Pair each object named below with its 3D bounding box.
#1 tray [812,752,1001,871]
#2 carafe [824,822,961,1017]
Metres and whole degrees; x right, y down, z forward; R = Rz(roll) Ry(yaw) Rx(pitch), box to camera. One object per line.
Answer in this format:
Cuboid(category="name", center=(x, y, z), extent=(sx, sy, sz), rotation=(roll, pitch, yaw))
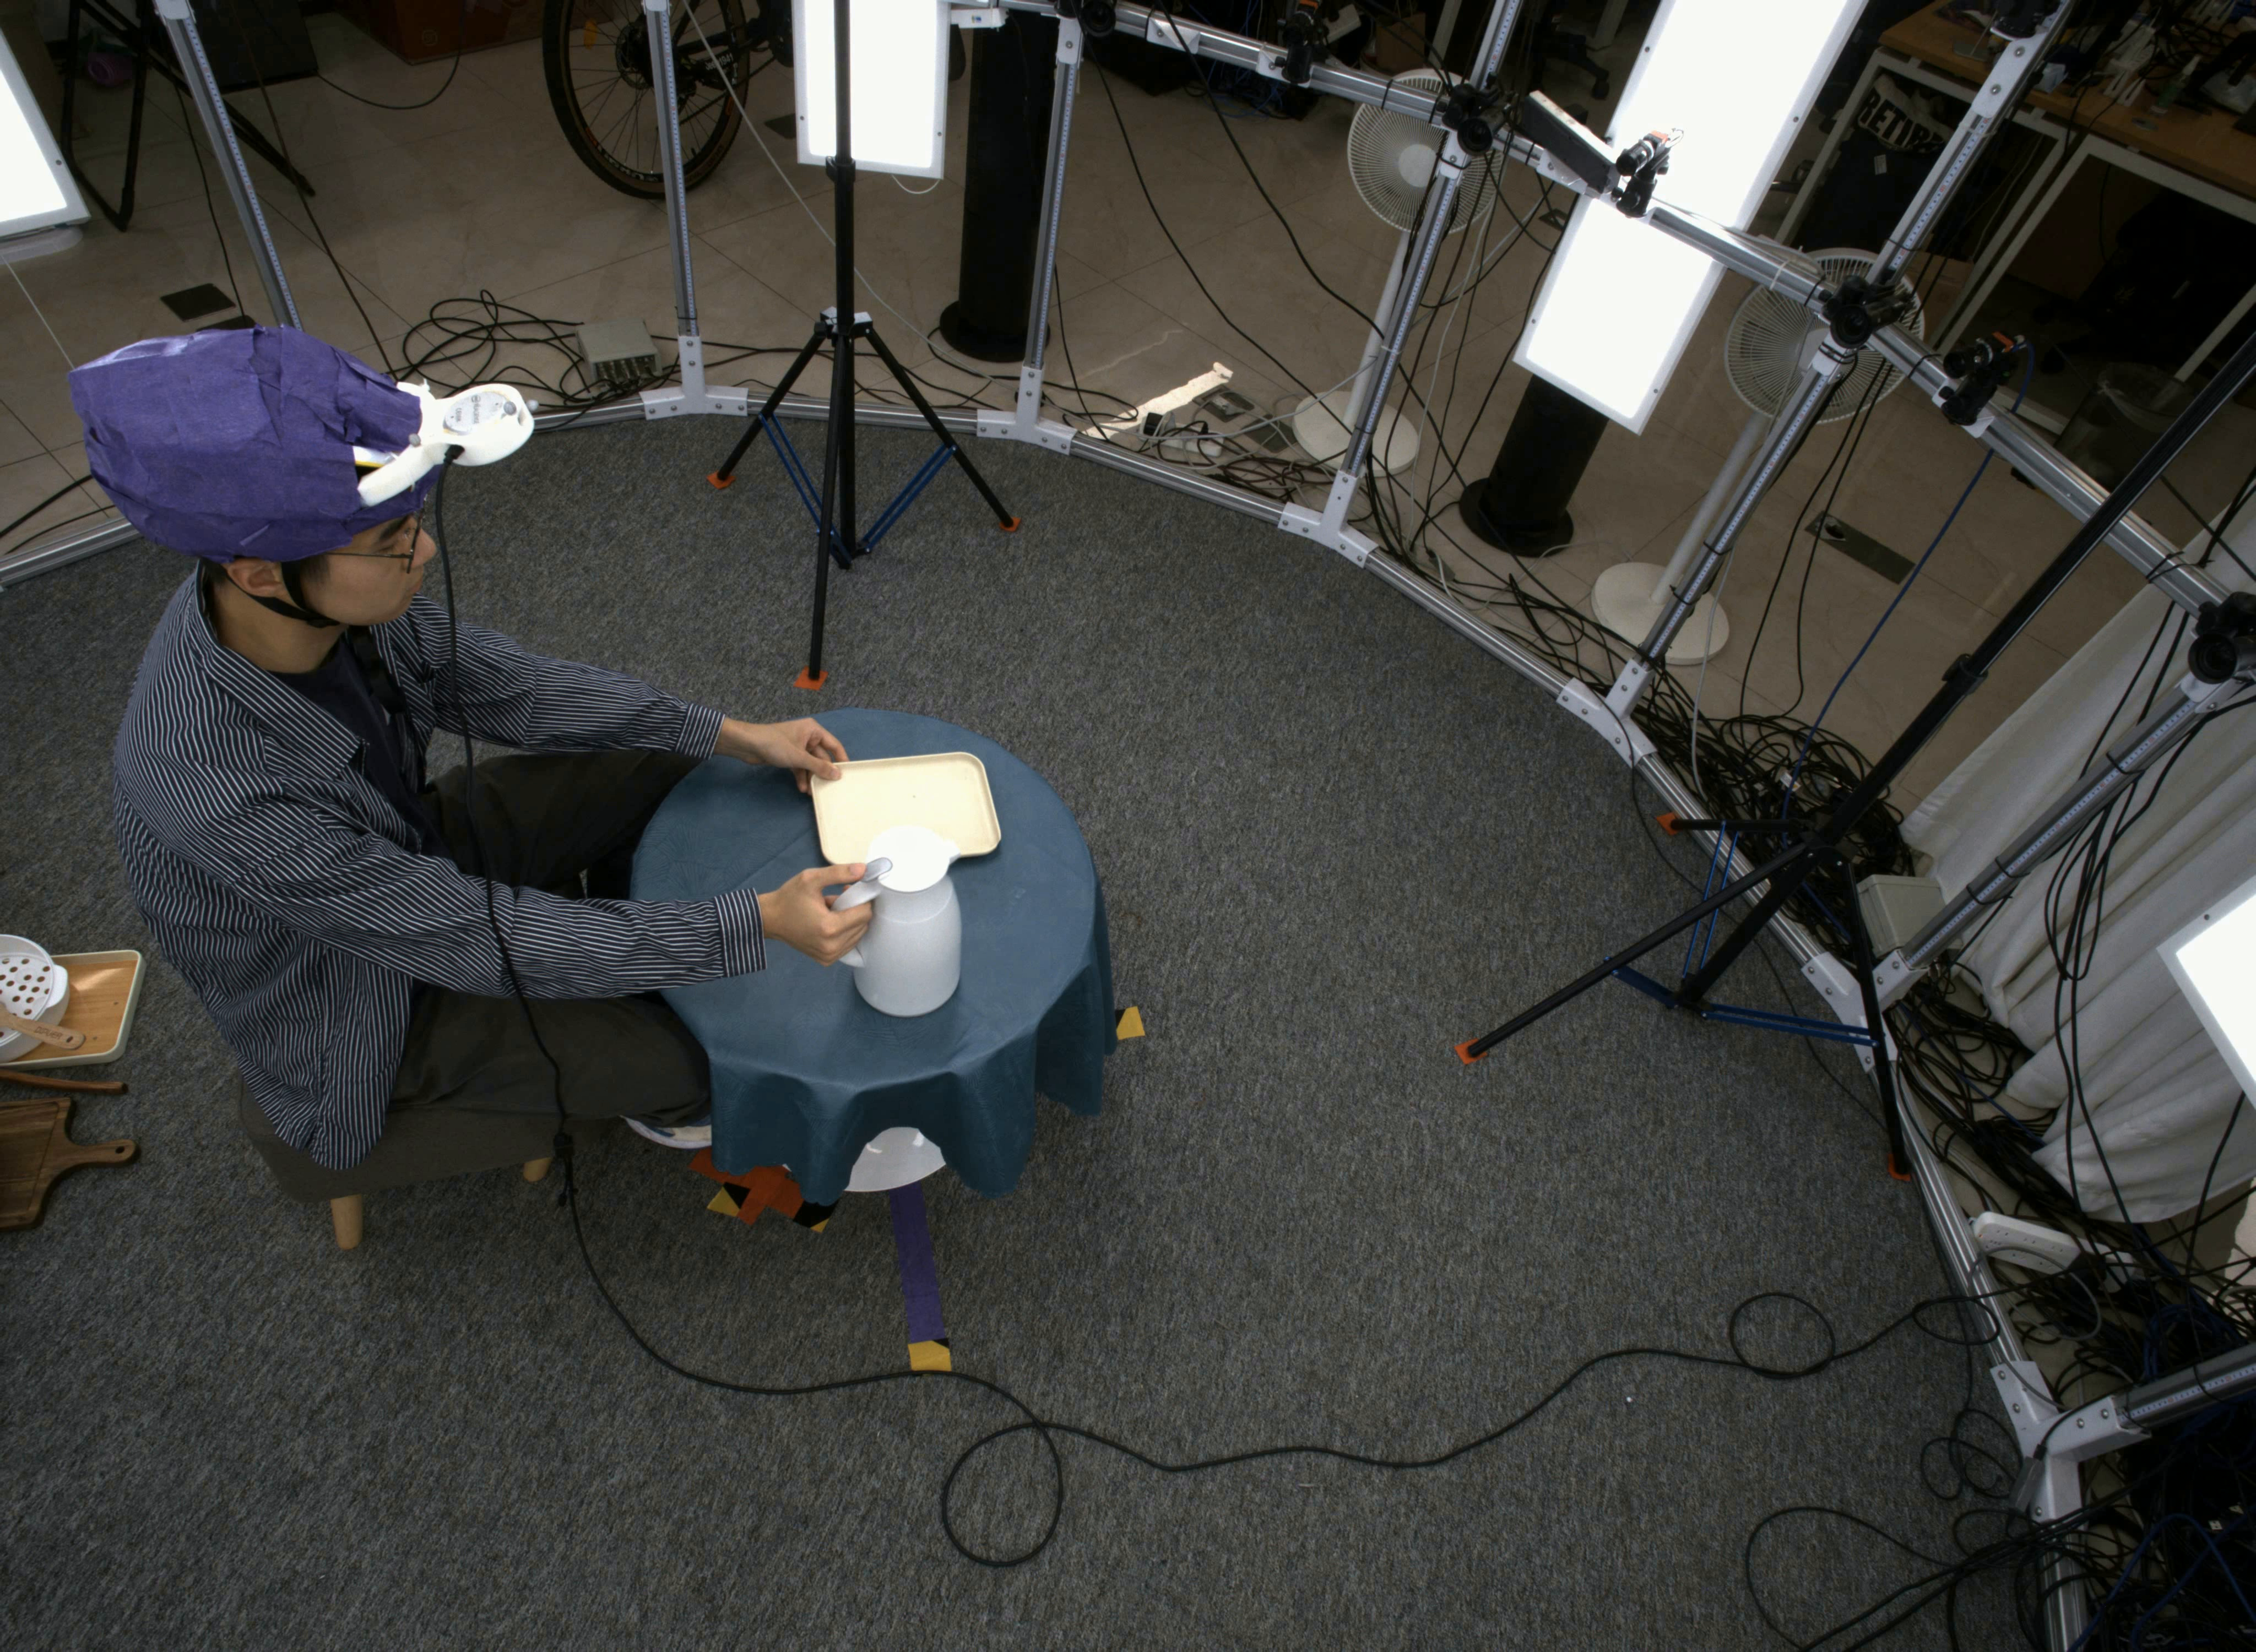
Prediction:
Cuboid(category="tray", center=(-0.300, -0.021, 1.761), extent=(0.241, 0.018, 0.167), rotation=(-6, 59, -20))
Cuboid(category="carafe", center=(-0.277, 0.113, 1.529), extent=(0.168, 0.254, 0.129), rotation=(-30, 63, -27))
